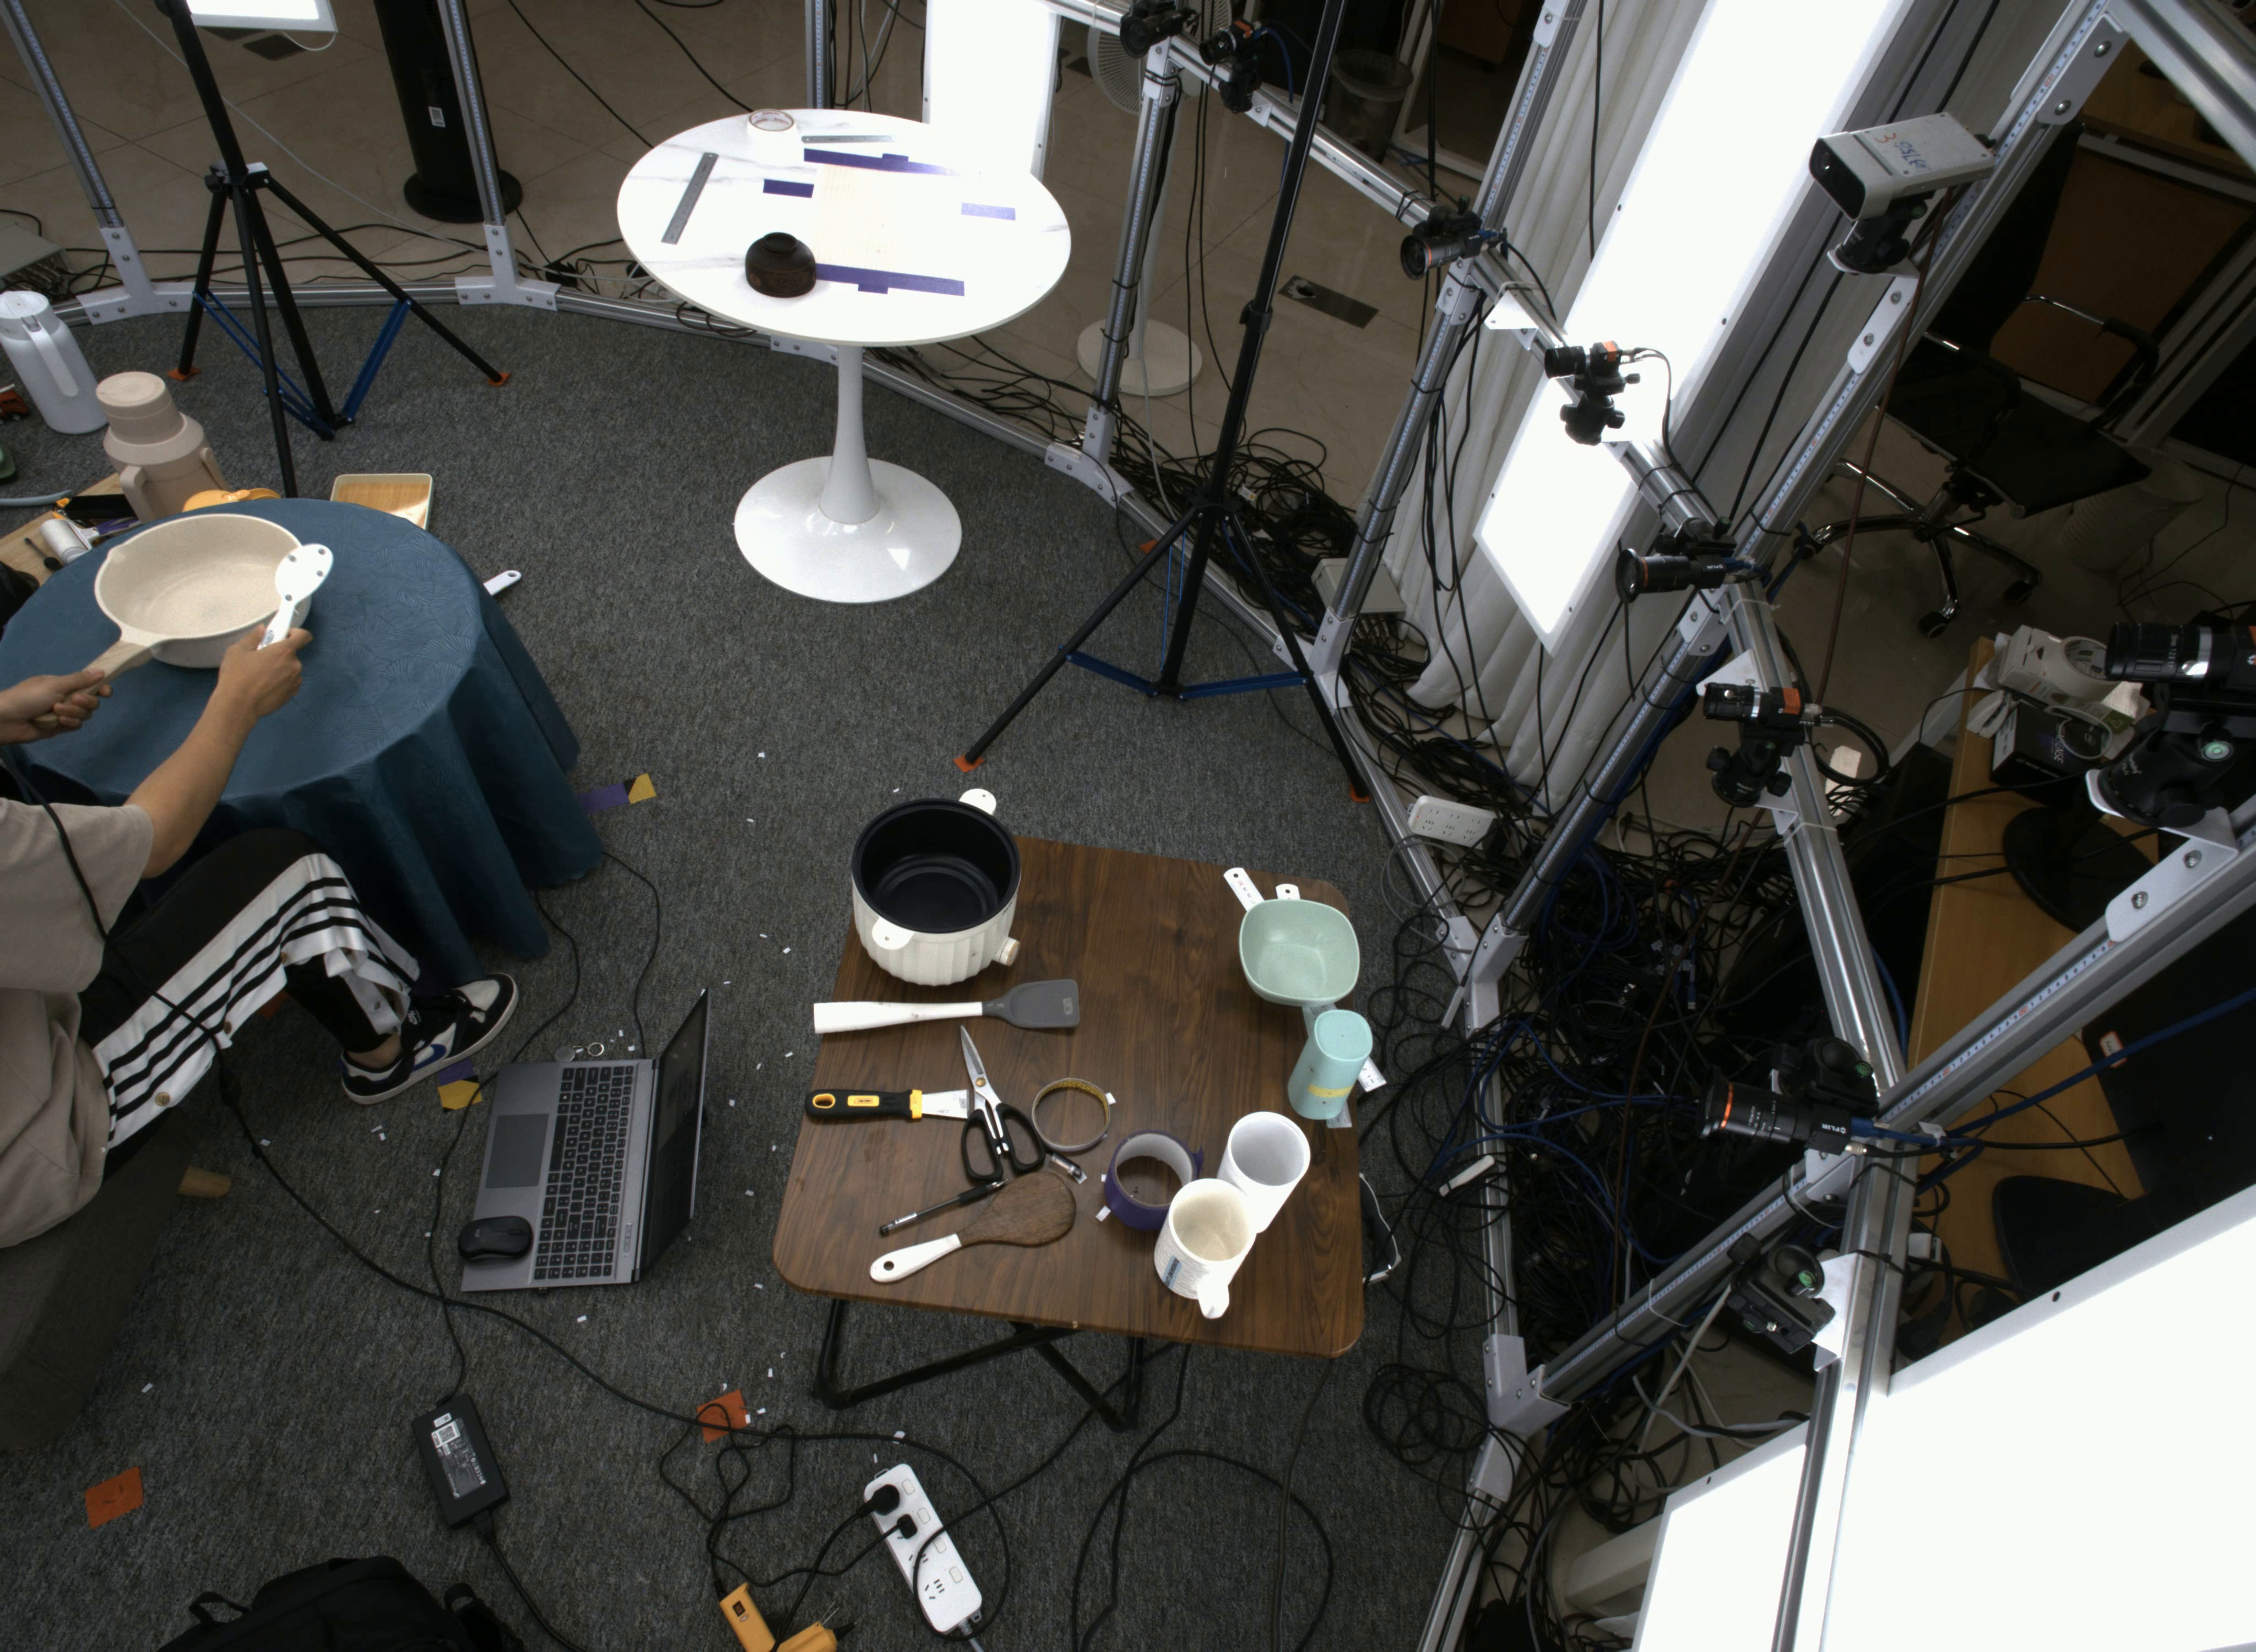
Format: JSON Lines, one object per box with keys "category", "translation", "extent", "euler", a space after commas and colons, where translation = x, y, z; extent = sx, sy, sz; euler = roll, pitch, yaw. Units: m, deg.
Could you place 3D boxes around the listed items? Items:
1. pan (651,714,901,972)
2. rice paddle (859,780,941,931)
{"category": "pan", "translation": [-0.461, 0.034, 1.640], "extent": [0.260, 0.104, 0.432], "euler": [27, 53, 5]}
{"category": "rice paddle", "translation": [-0.278, 0.027, 1.566], "extent": [0.067, 0.030, 0.203], "euler": [12, 62, 6]}
